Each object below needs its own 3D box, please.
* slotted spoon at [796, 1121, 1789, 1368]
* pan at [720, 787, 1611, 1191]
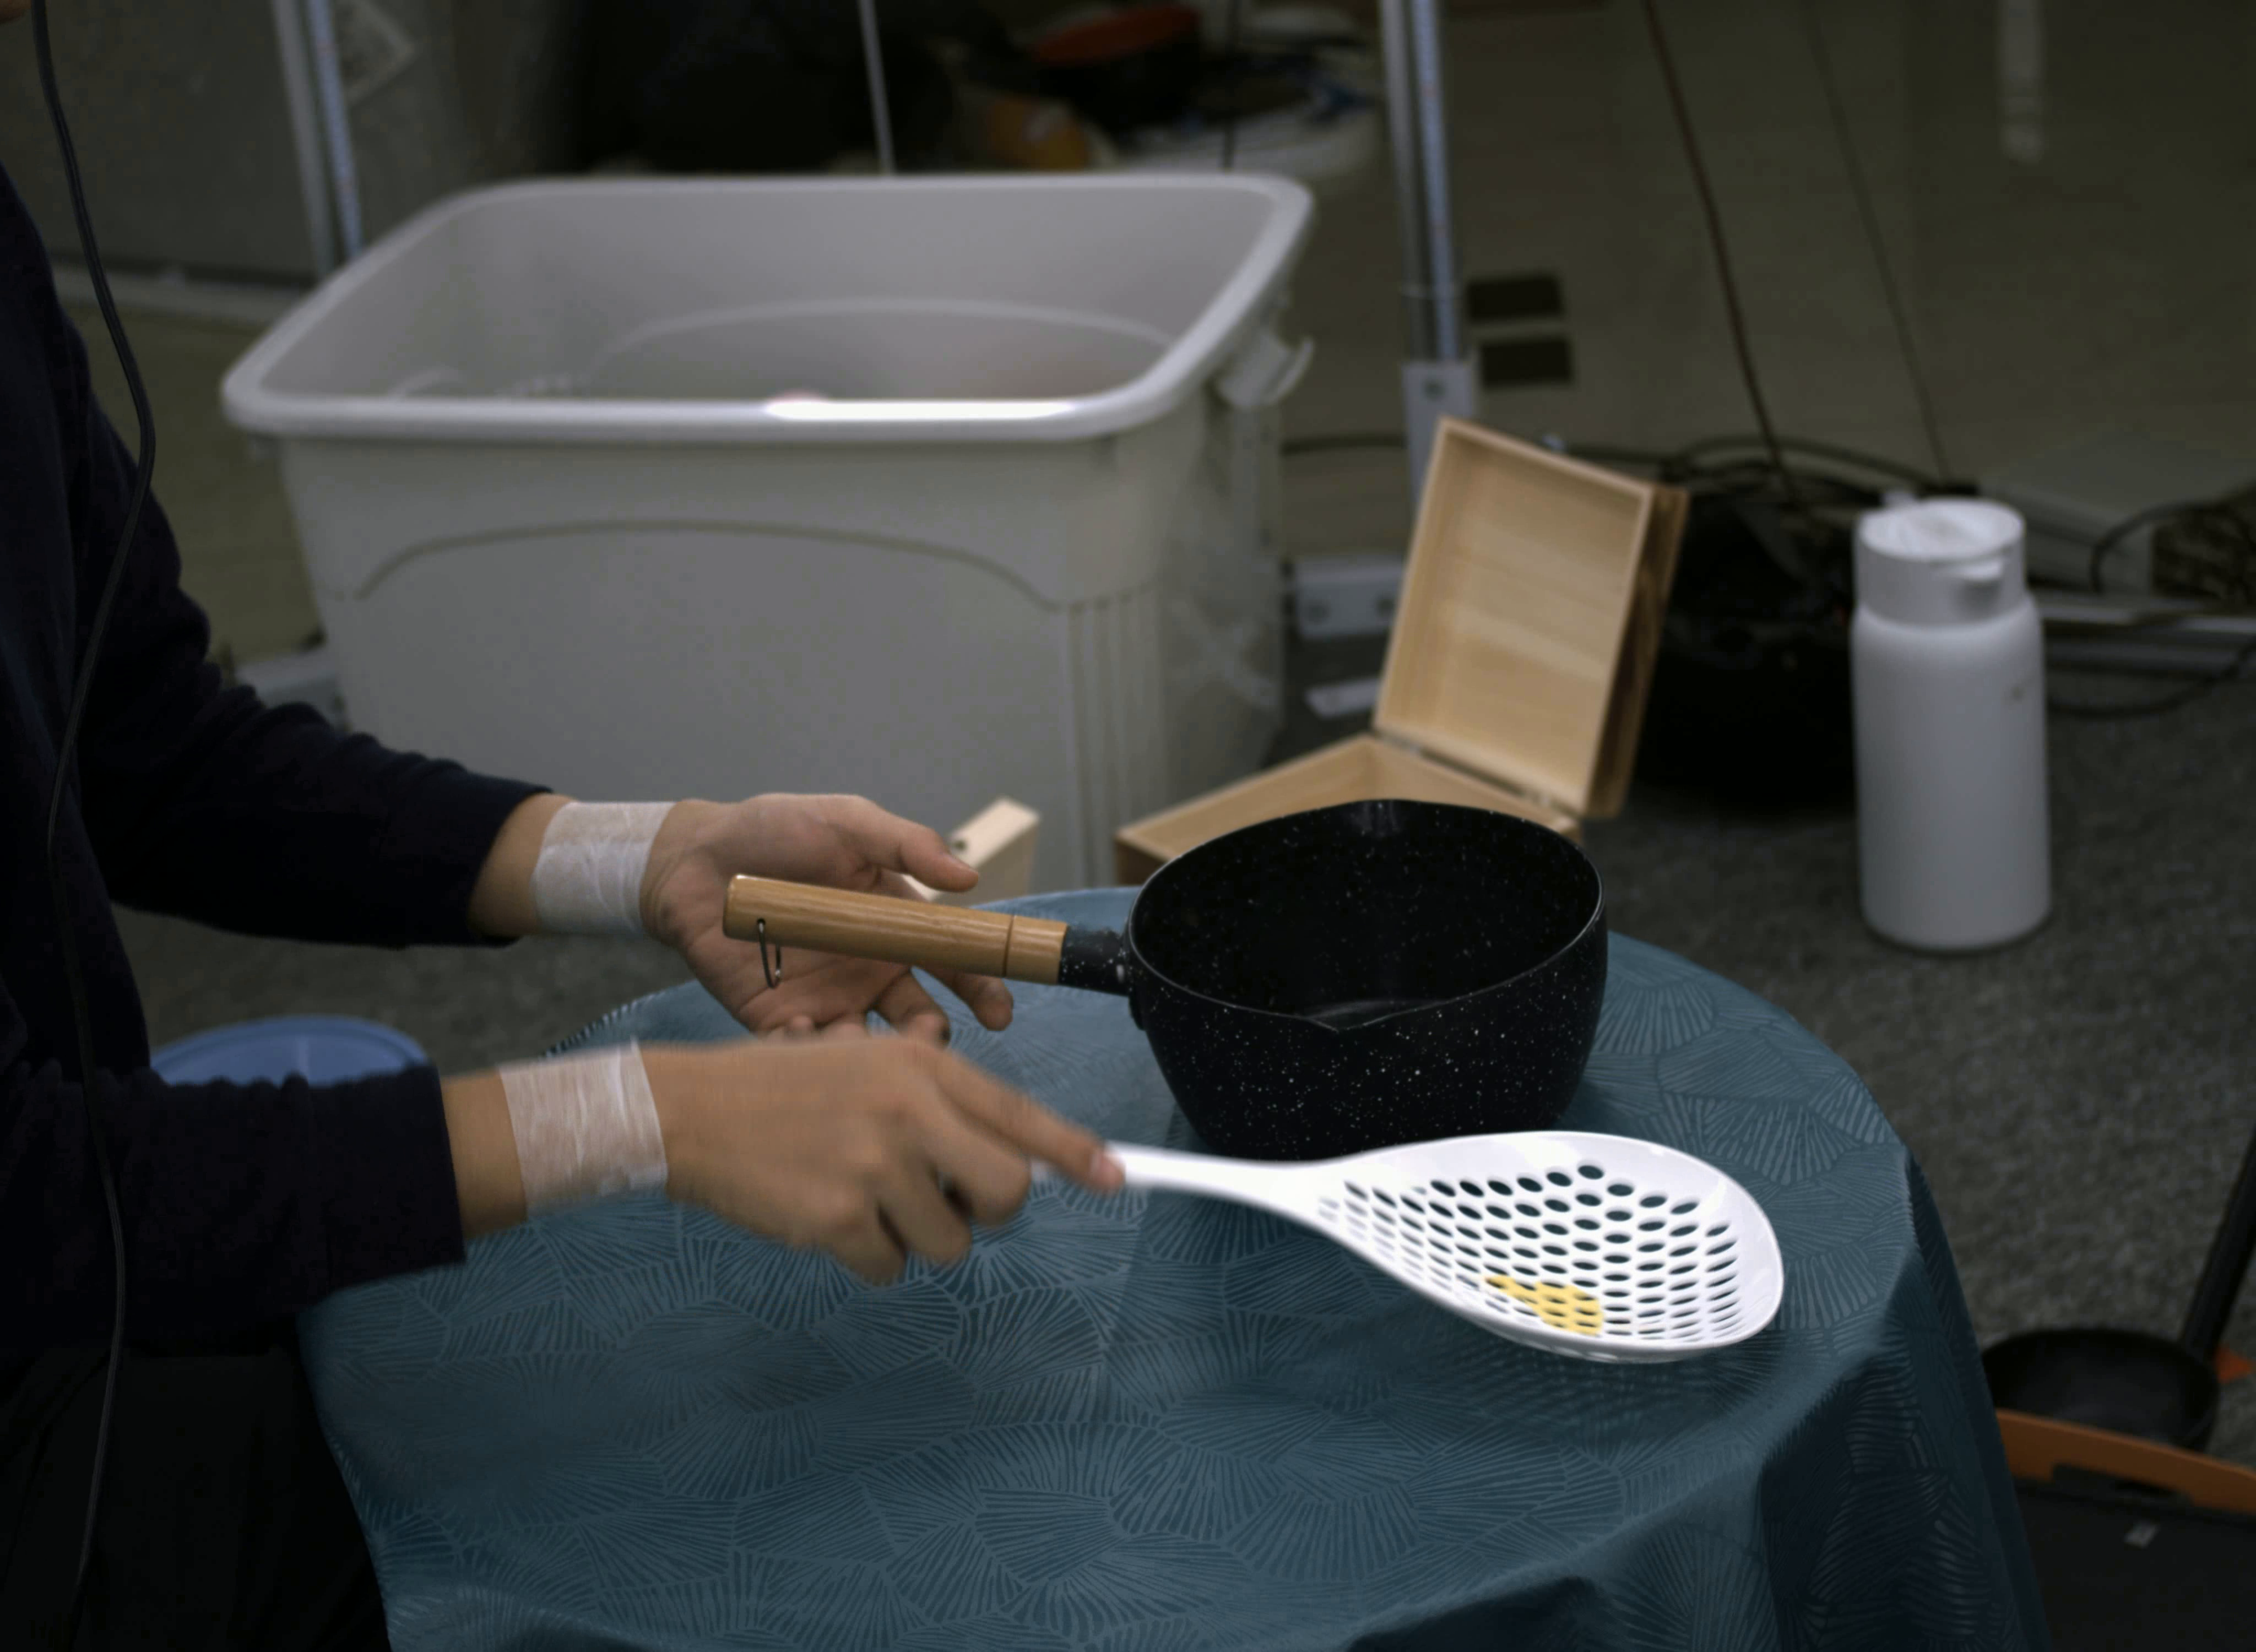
[{"bbox_3d":[0.058,0.144,2.002,0.347,0.051,0.134,9,32,-5],"label":"slotted spoon"},{"bbox_3d":[0.015,0.062,2.180,0.342,0.110,0.204,-2,26,6],"label":"pan"}]
